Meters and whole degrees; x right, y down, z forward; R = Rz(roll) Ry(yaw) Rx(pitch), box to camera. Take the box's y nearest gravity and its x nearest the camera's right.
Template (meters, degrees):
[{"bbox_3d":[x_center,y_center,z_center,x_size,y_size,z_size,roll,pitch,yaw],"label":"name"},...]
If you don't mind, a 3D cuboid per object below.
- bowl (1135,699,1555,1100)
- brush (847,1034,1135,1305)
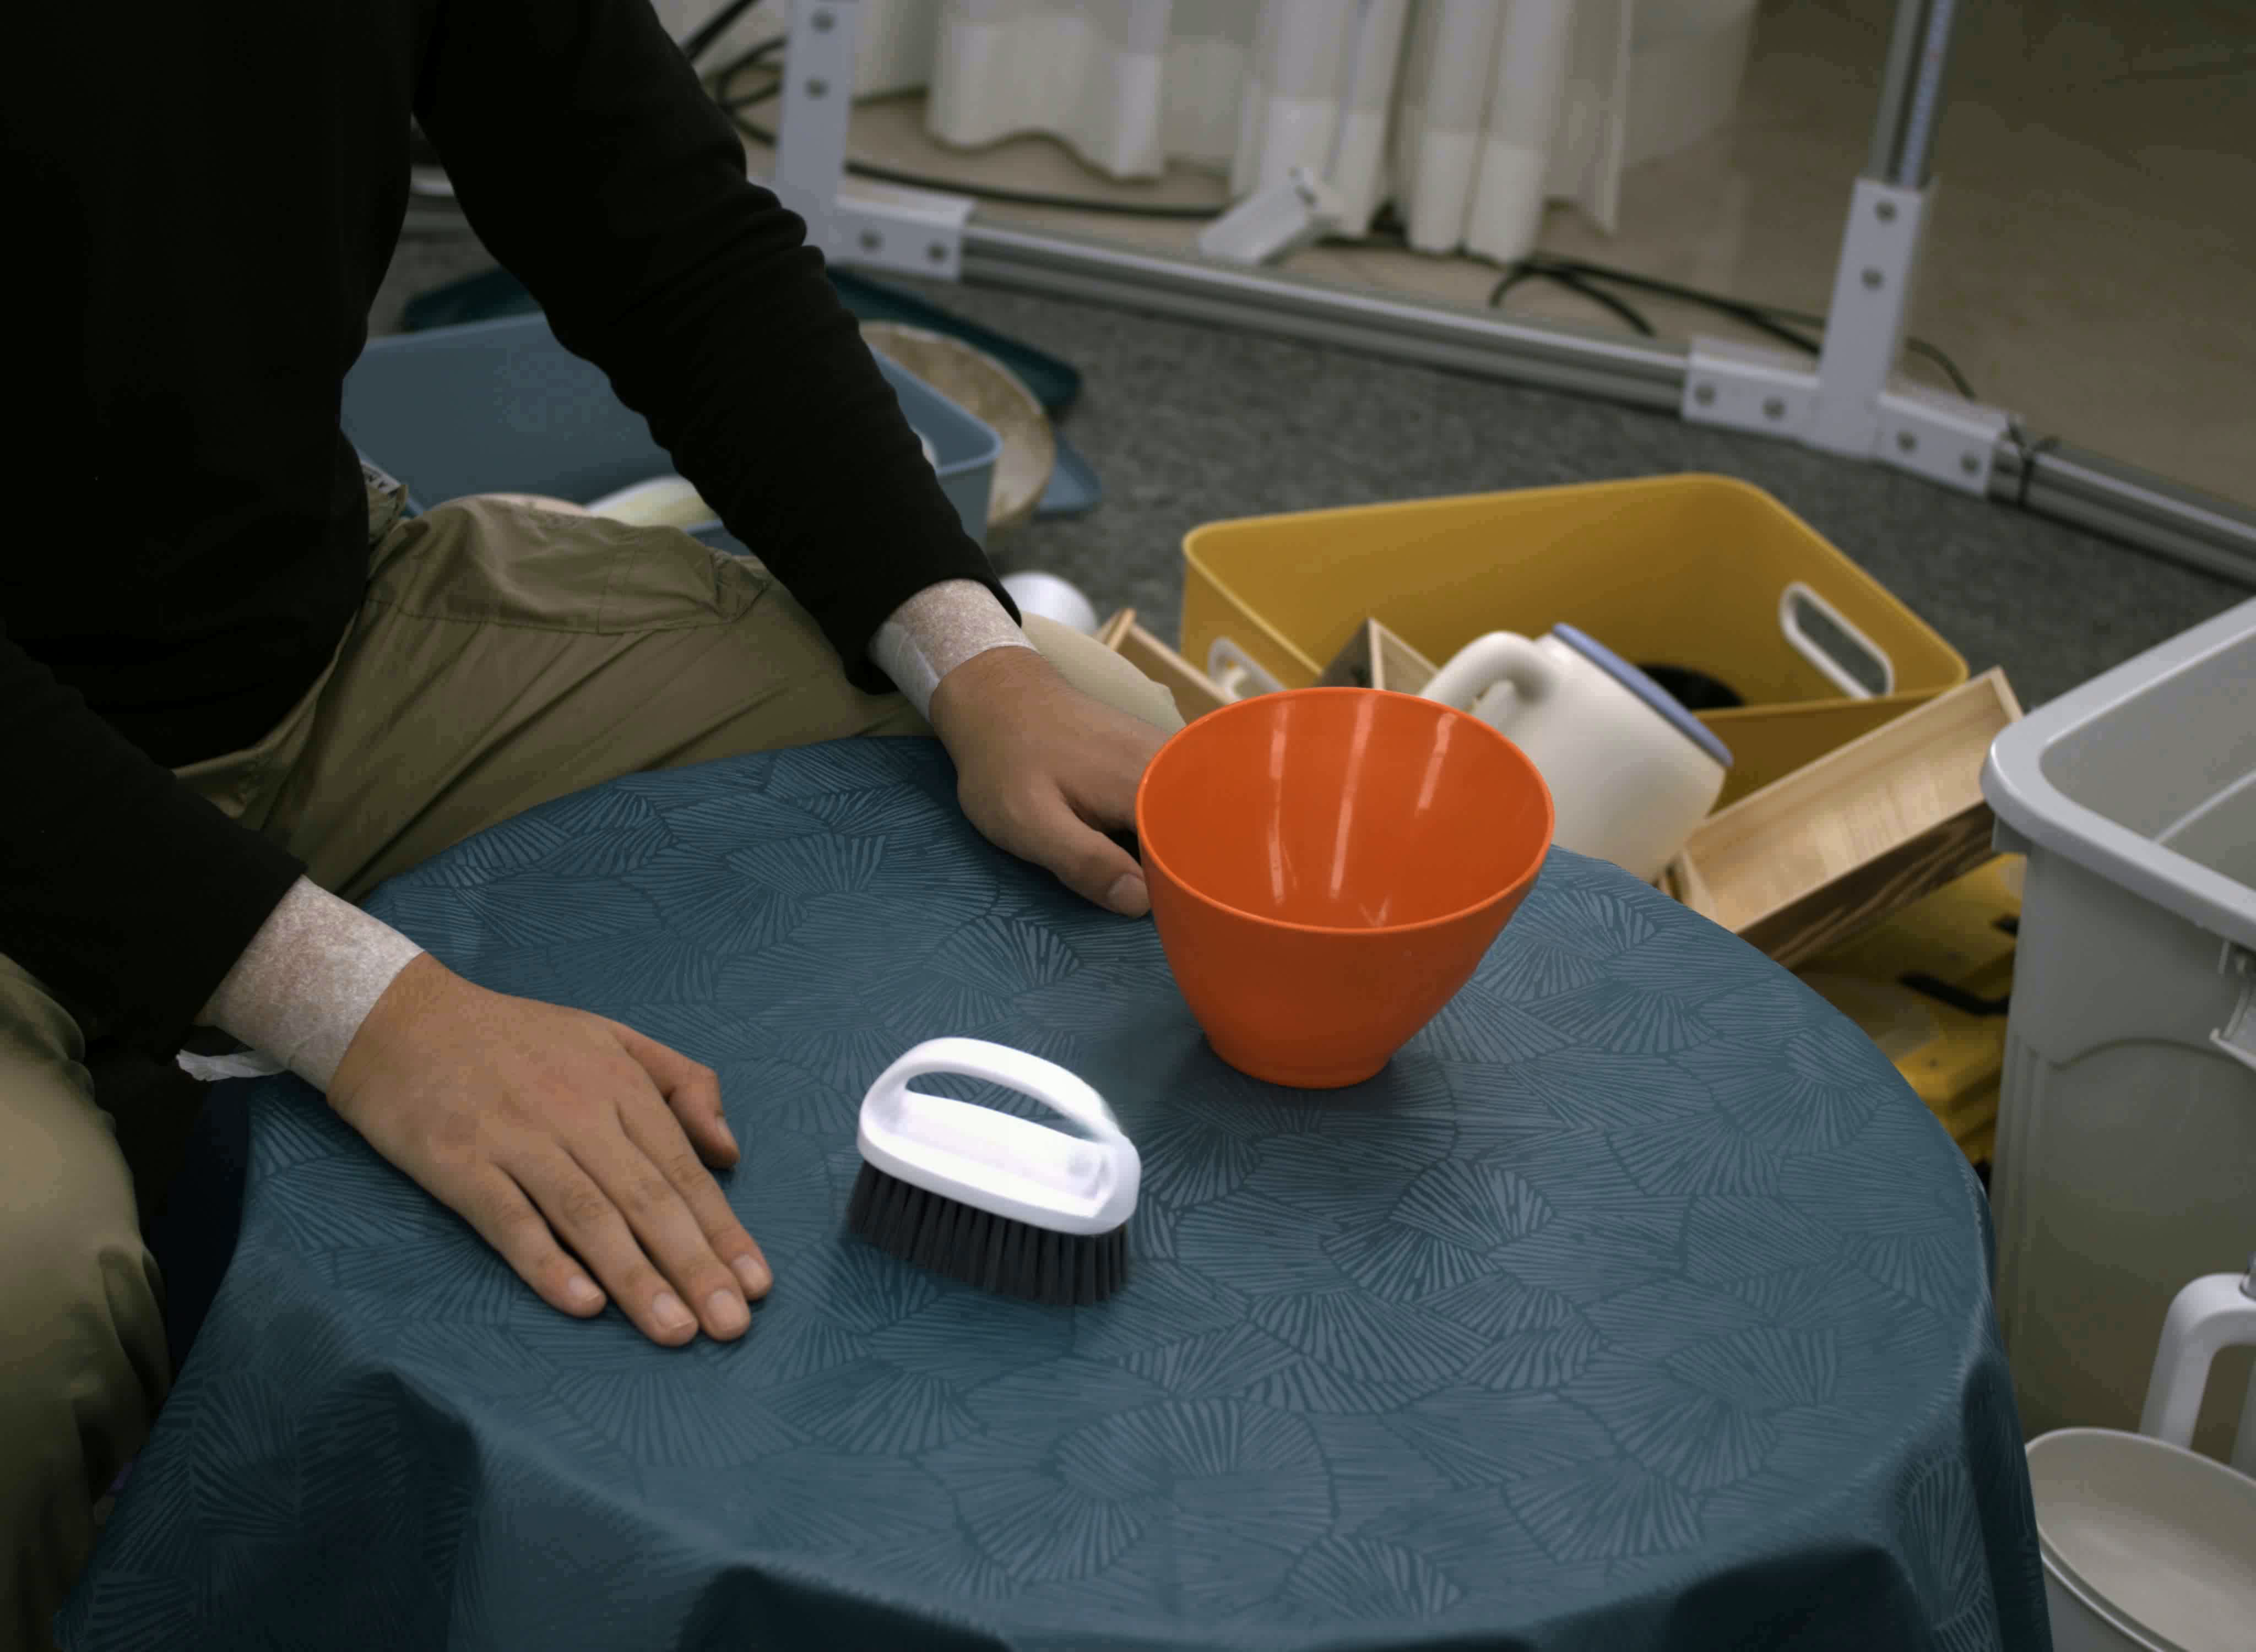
[{"bbox_3d":[0.073,0.032,1.891,0.147,0.104,0.149,4,27,-2],"label":"bowl"},{"bbox_3d":[-0.044,0.106,1.745,0.099,0.072,0.050,19,30,23],"label":"brush"}]
